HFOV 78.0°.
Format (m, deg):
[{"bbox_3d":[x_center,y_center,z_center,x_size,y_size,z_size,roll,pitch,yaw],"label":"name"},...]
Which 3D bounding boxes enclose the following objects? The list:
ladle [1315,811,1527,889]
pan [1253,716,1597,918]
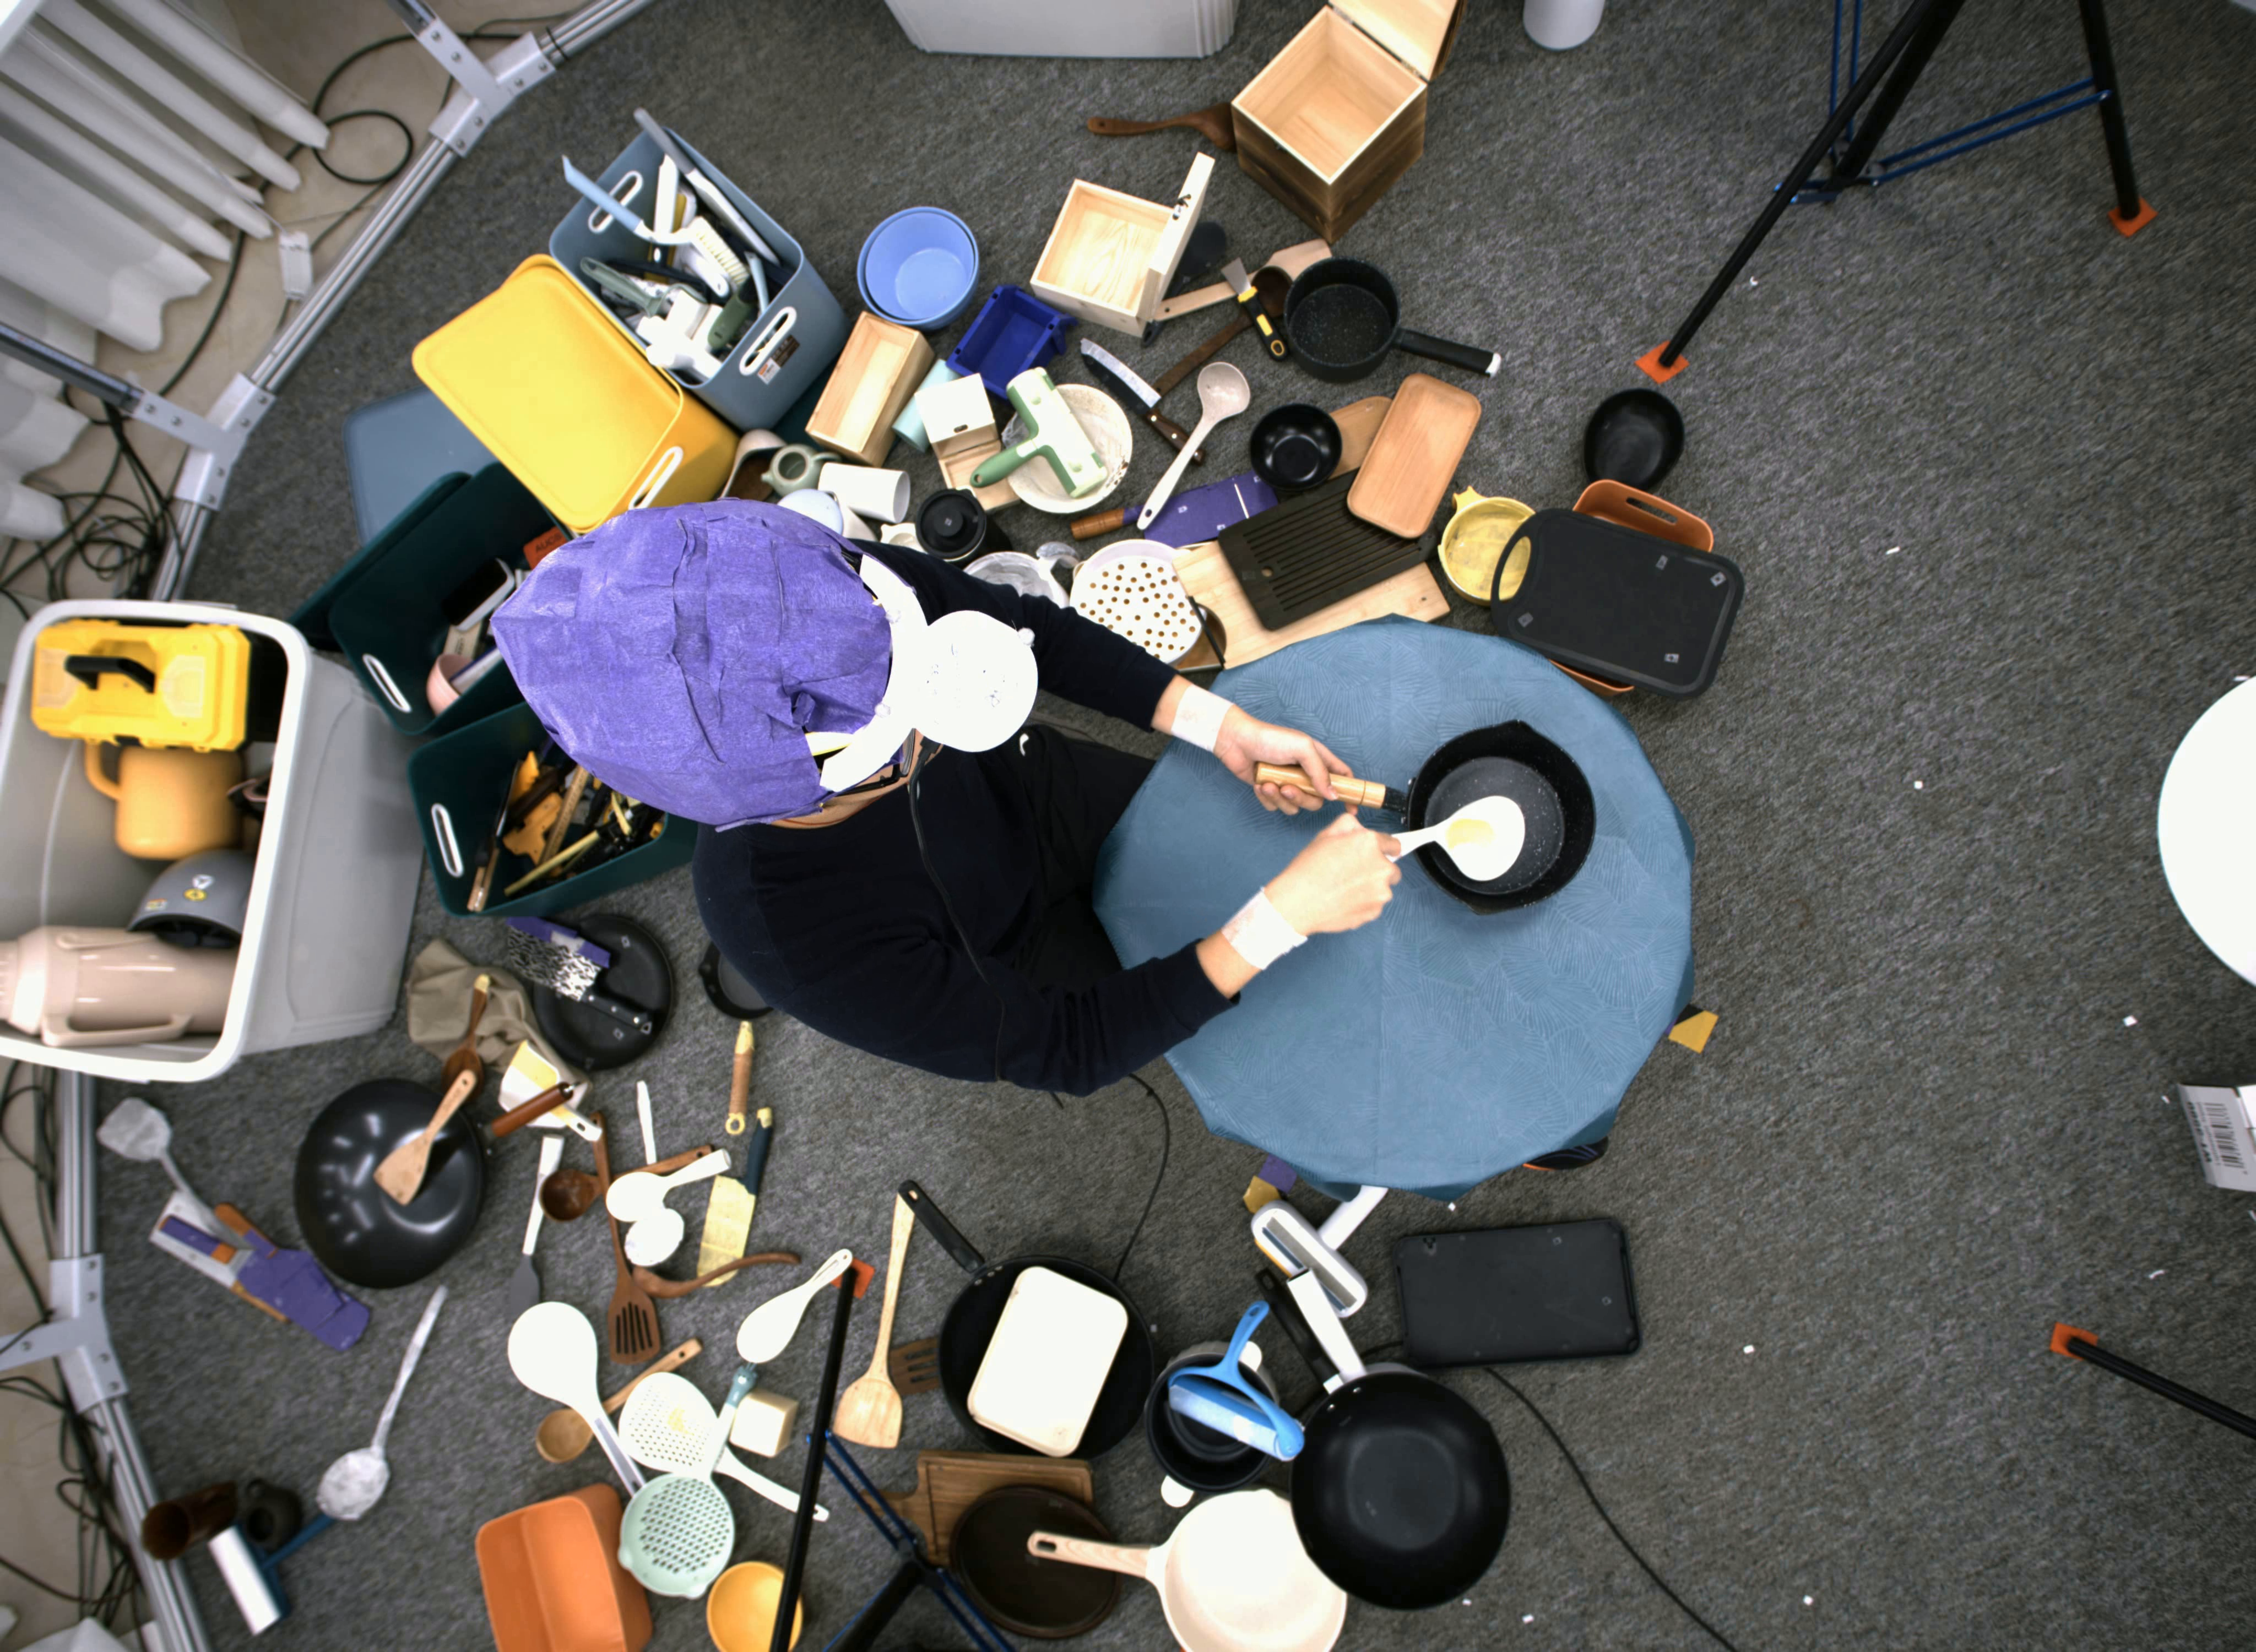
[{"bbox_3d":[0.288,0.026,1.334,0.069,0.290,0.092,34,115,34],"label":"ladle"},{"bbox_3d":[0.298,-0.021,1.405,0.343,0.108,0.207,10,89,10],"label":"pan"}]
